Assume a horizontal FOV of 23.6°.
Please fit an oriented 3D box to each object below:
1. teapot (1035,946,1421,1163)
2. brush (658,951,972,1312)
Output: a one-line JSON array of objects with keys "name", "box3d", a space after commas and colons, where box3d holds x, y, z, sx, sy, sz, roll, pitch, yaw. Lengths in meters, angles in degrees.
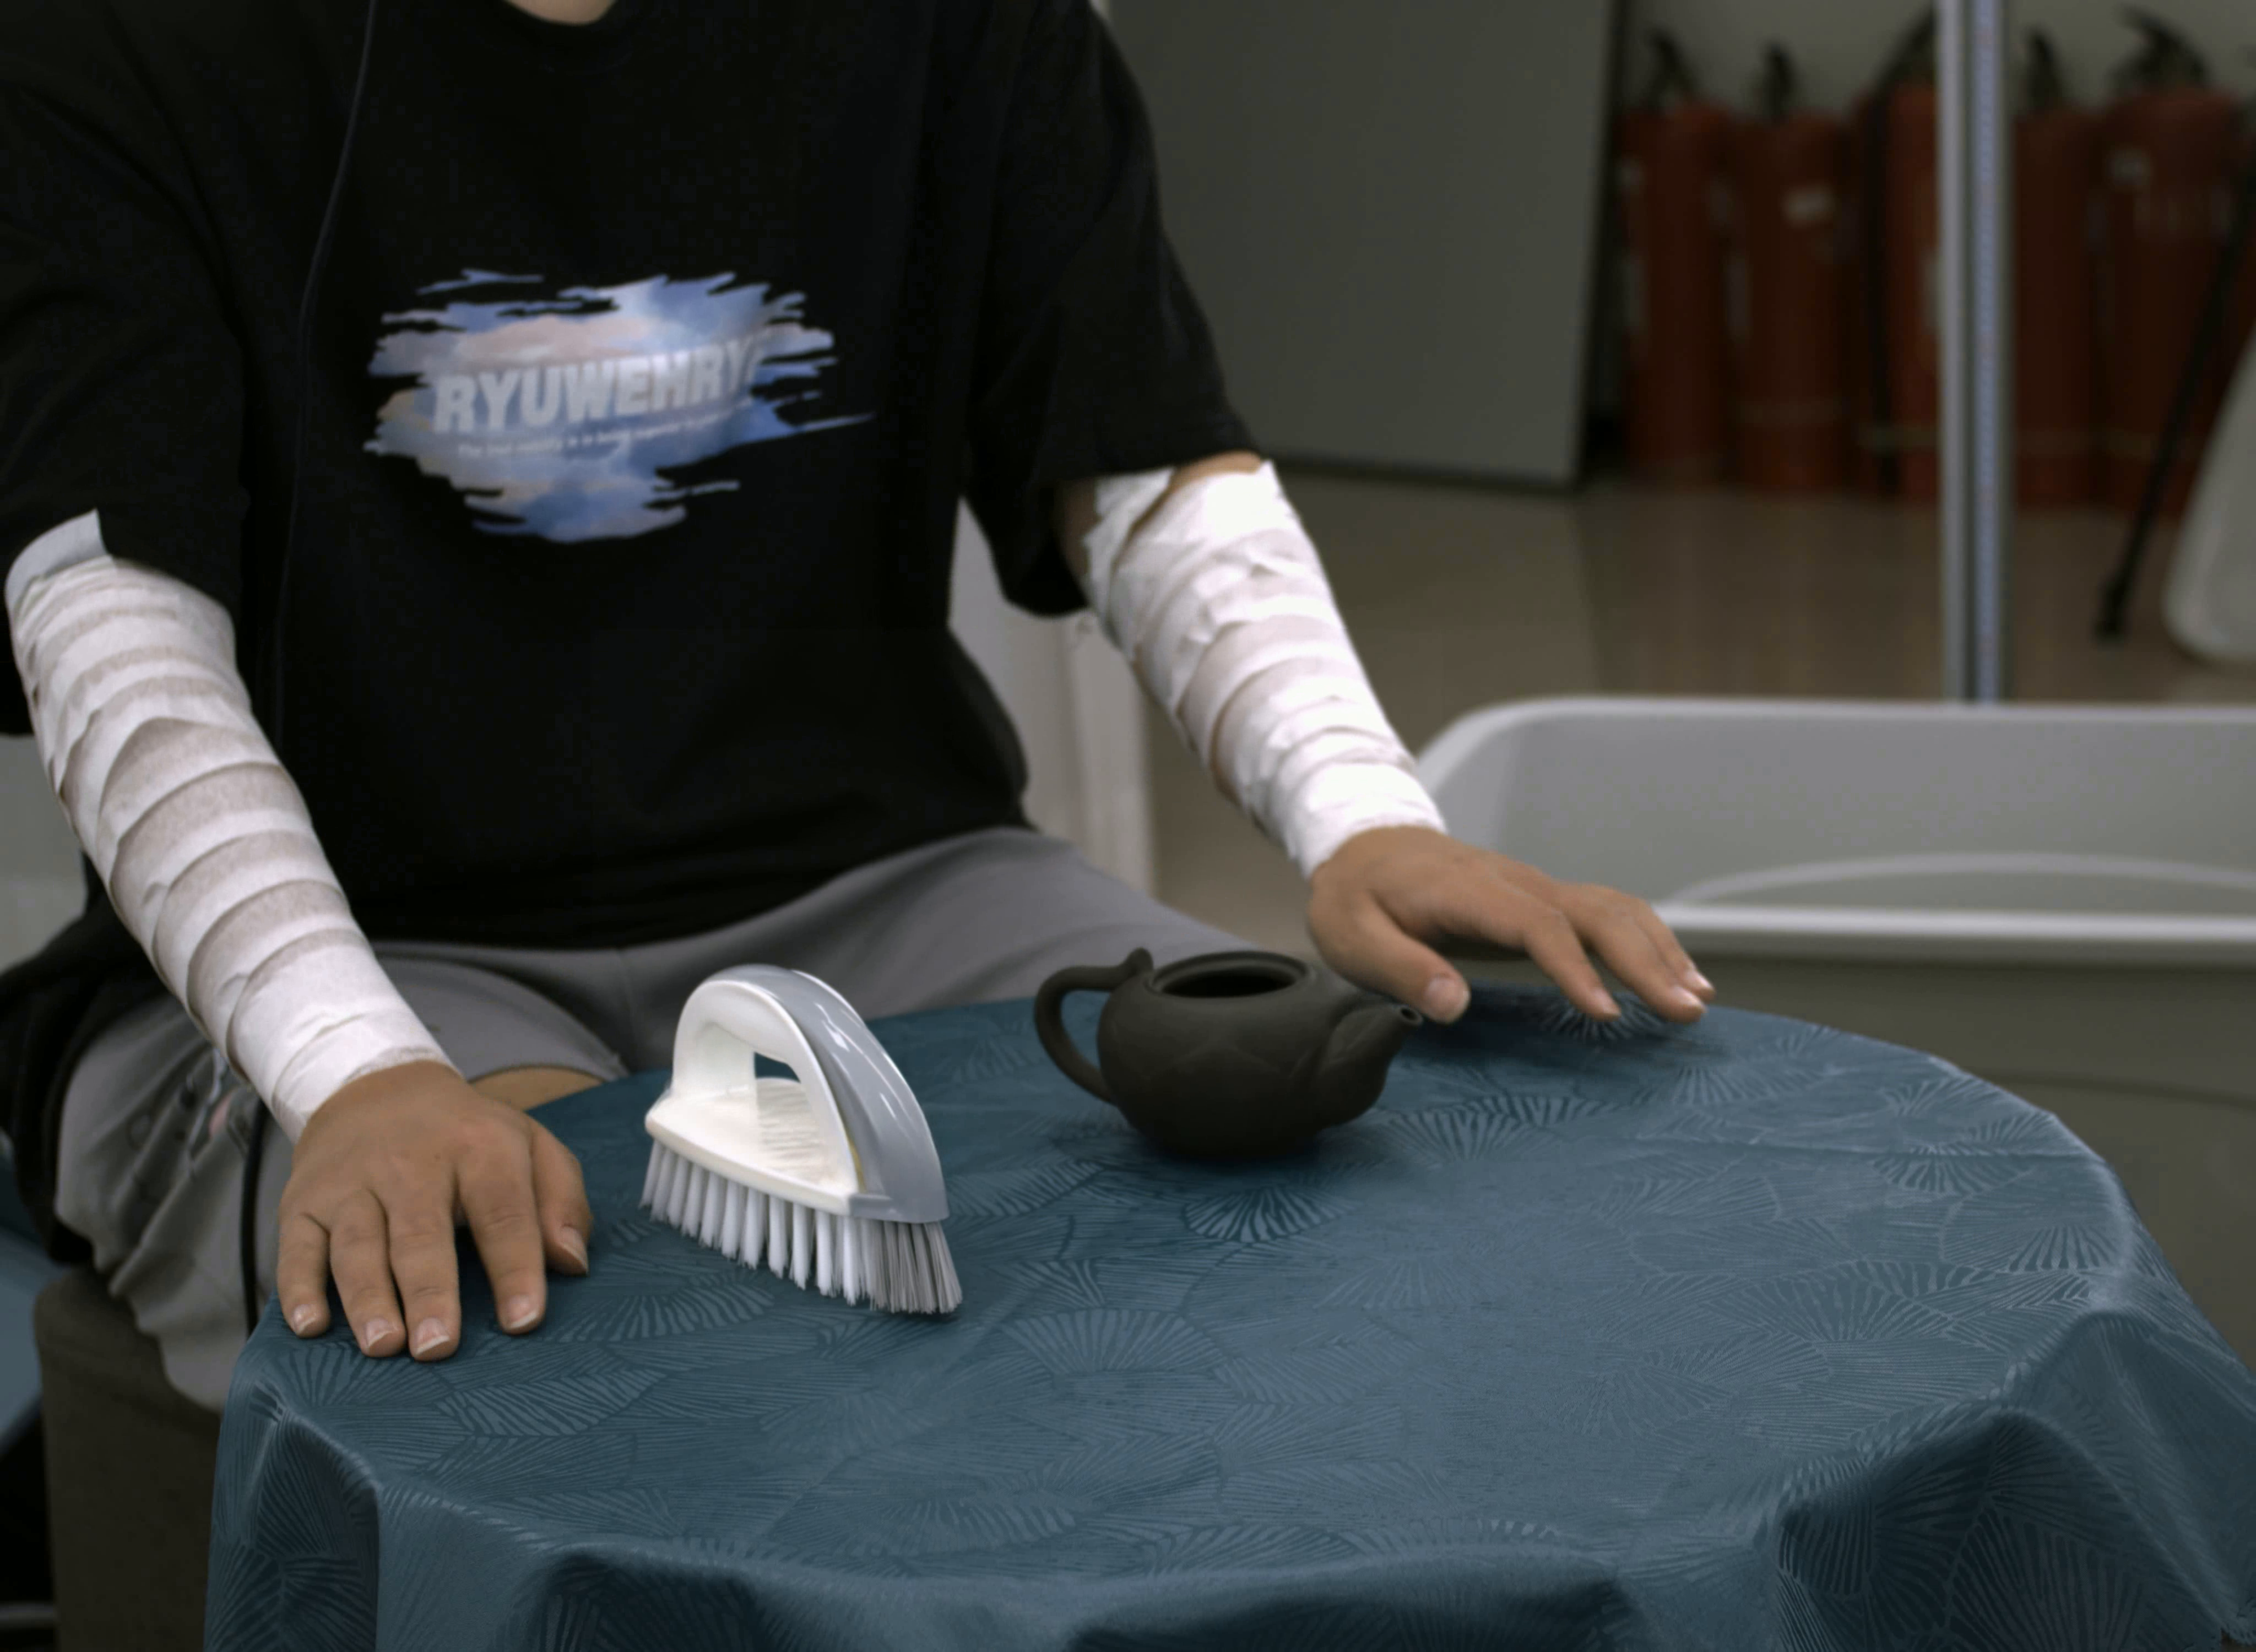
[{"name": "teapot", "box3d": [0.033, 0.075, 1.814, 0.155, 0.065, 0.091, 7, 17, 34]}, {"name": "brush", "box3d": [-0.097, 0.093, 1.723, 0.060, 0.095, 0.177, -15, 19, -25]}]
